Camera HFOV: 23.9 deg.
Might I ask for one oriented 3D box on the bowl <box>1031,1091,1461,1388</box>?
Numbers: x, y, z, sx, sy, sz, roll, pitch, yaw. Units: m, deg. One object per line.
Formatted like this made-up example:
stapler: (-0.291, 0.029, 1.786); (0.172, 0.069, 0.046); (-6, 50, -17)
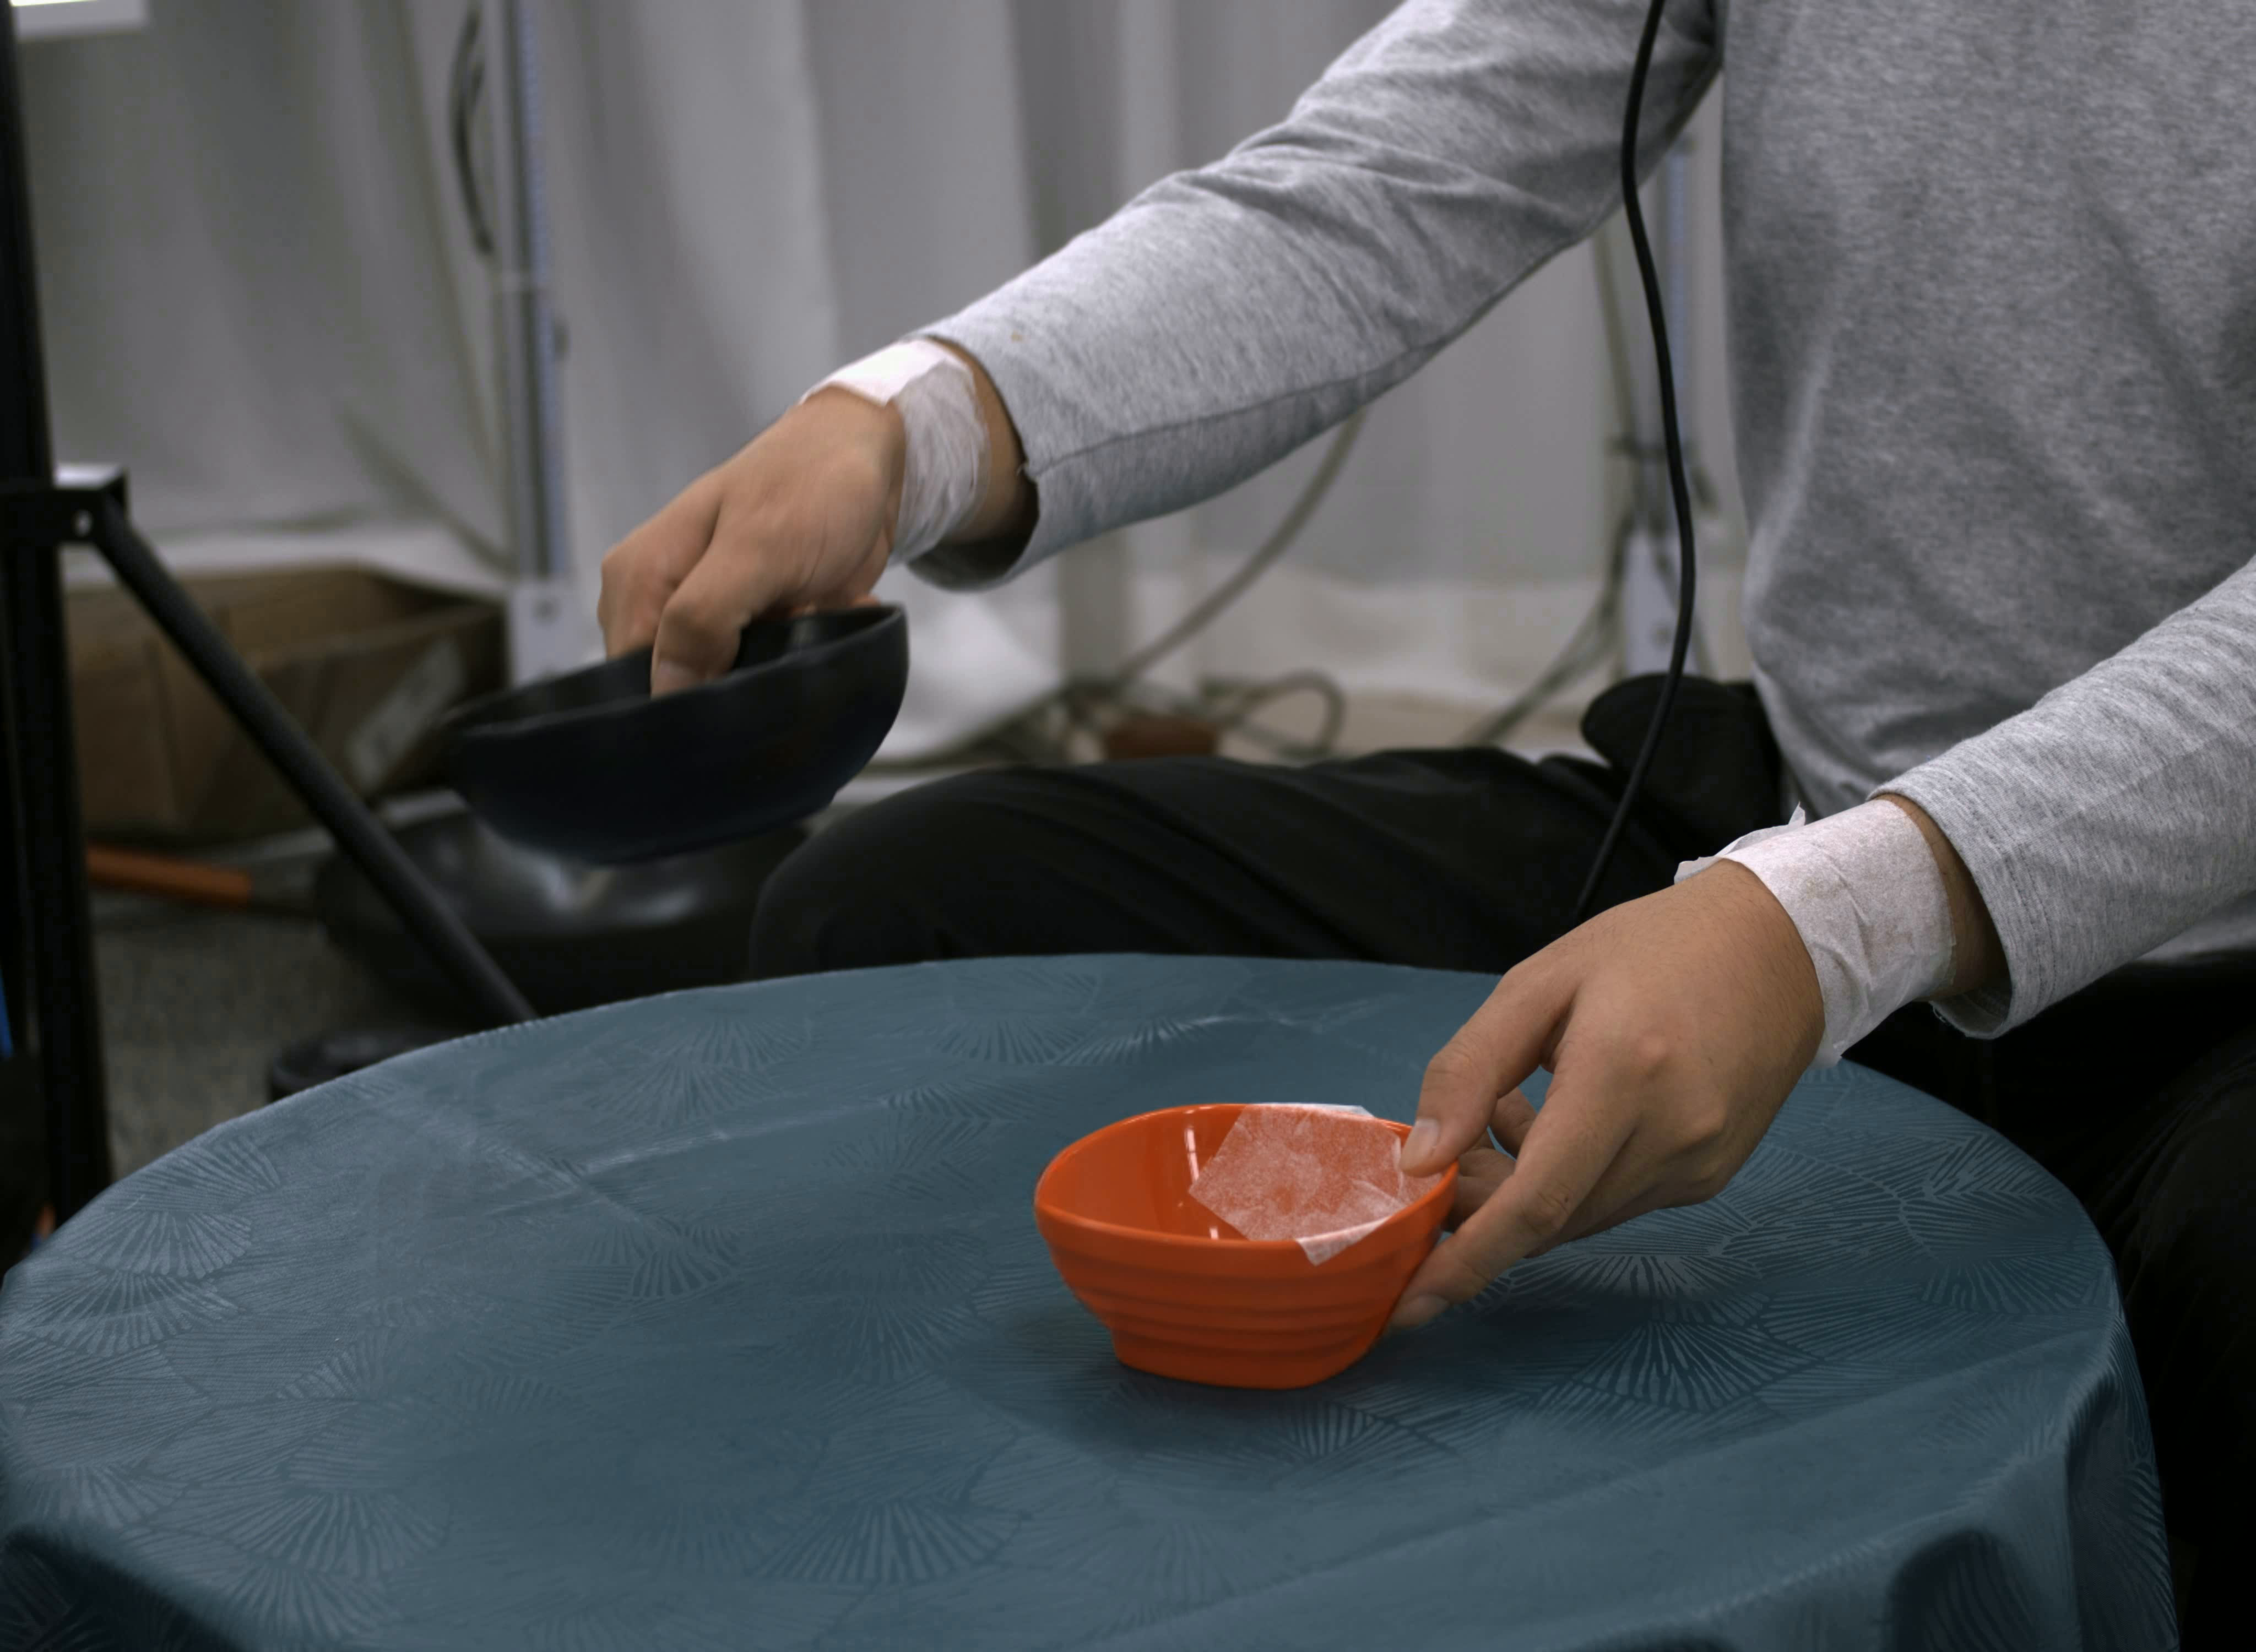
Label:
bowl: (0.034, 0.115, 1.434); (0.118, 0.051, 0.119); (-5, 17, 0)

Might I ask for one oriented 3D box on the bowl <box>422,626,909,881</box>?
bowl: (-0.124, -0.017, 1.487); (0.139, 0.050, 0.140); (-12, 6, 0)
